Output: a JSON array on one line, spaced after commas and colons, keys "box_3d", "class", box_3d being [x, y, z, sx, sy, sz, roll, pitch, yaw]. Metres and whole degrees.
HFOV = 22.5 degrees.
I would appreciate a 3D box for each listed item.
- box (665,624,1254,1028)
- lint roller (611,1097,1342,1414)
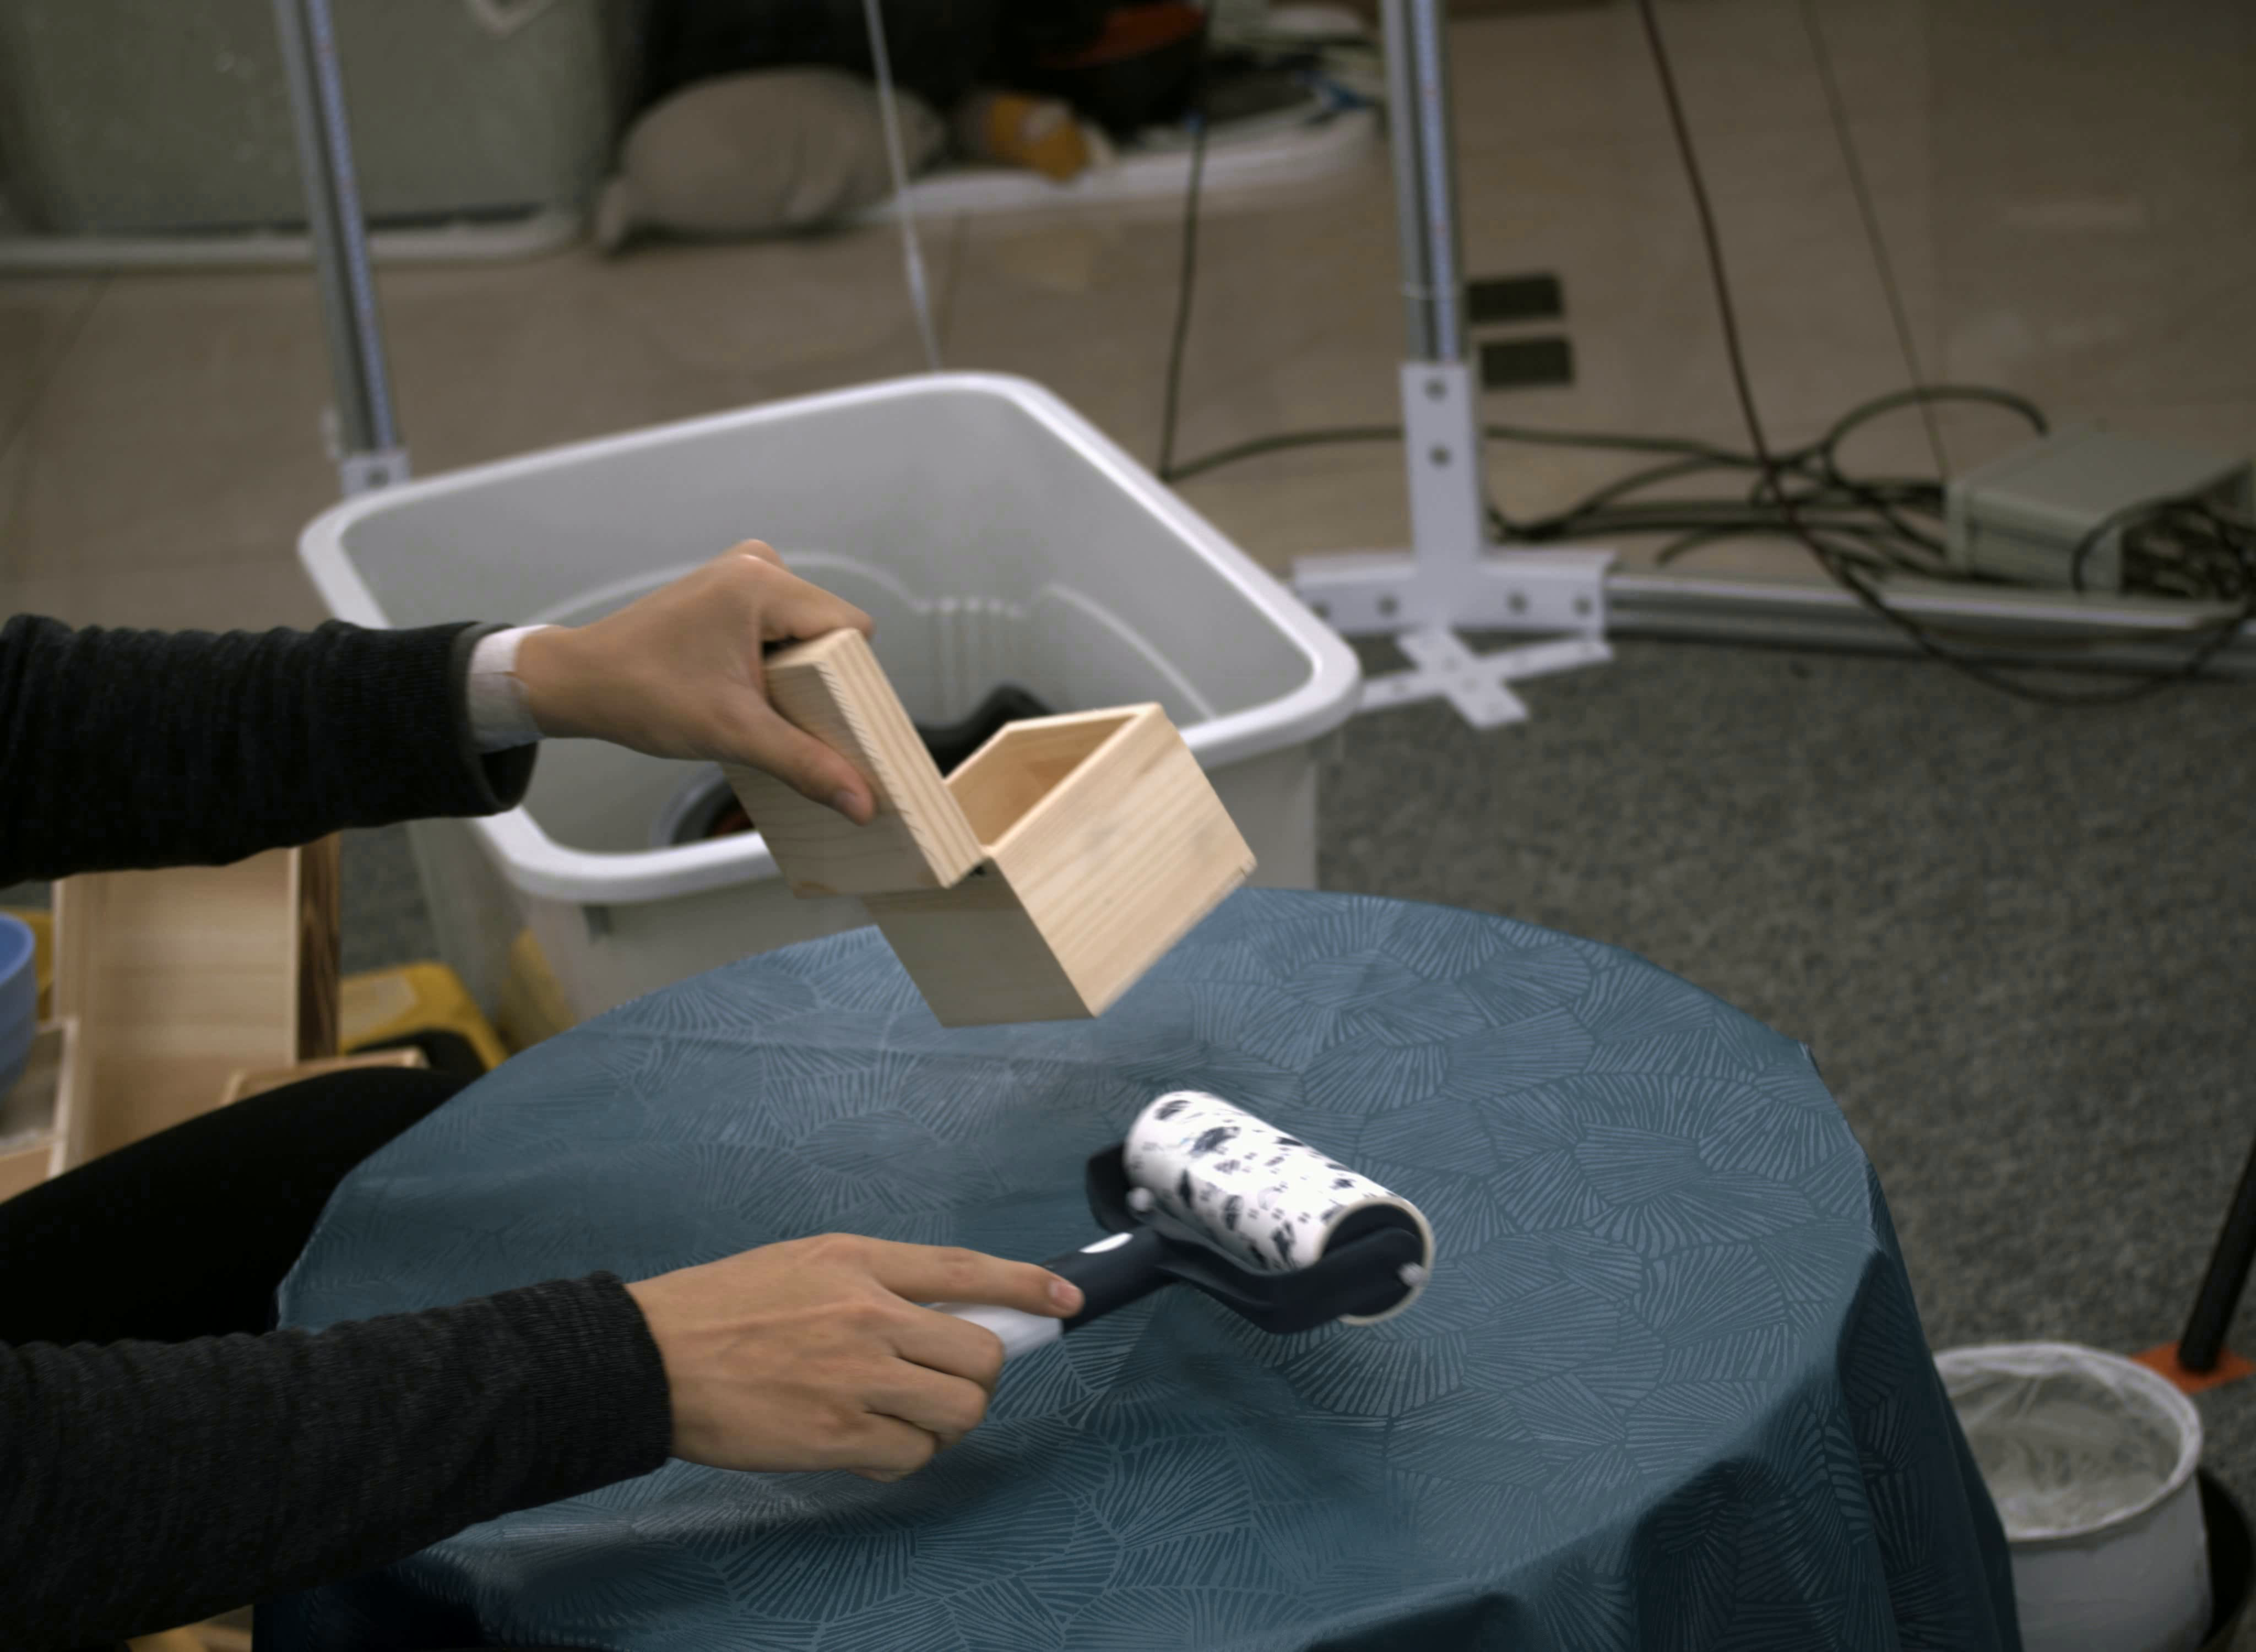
[{"box_3d": [-0.063, -0.022, 2.160, 0.132, 0.186, 0.102, -44, 21, -30], "class": "box"}, {"box_3d": [-0.061, 0.157, 1.986, 0.246, 0.051, 0.175, -12, 13, -11], "class": "lint roller"}]
